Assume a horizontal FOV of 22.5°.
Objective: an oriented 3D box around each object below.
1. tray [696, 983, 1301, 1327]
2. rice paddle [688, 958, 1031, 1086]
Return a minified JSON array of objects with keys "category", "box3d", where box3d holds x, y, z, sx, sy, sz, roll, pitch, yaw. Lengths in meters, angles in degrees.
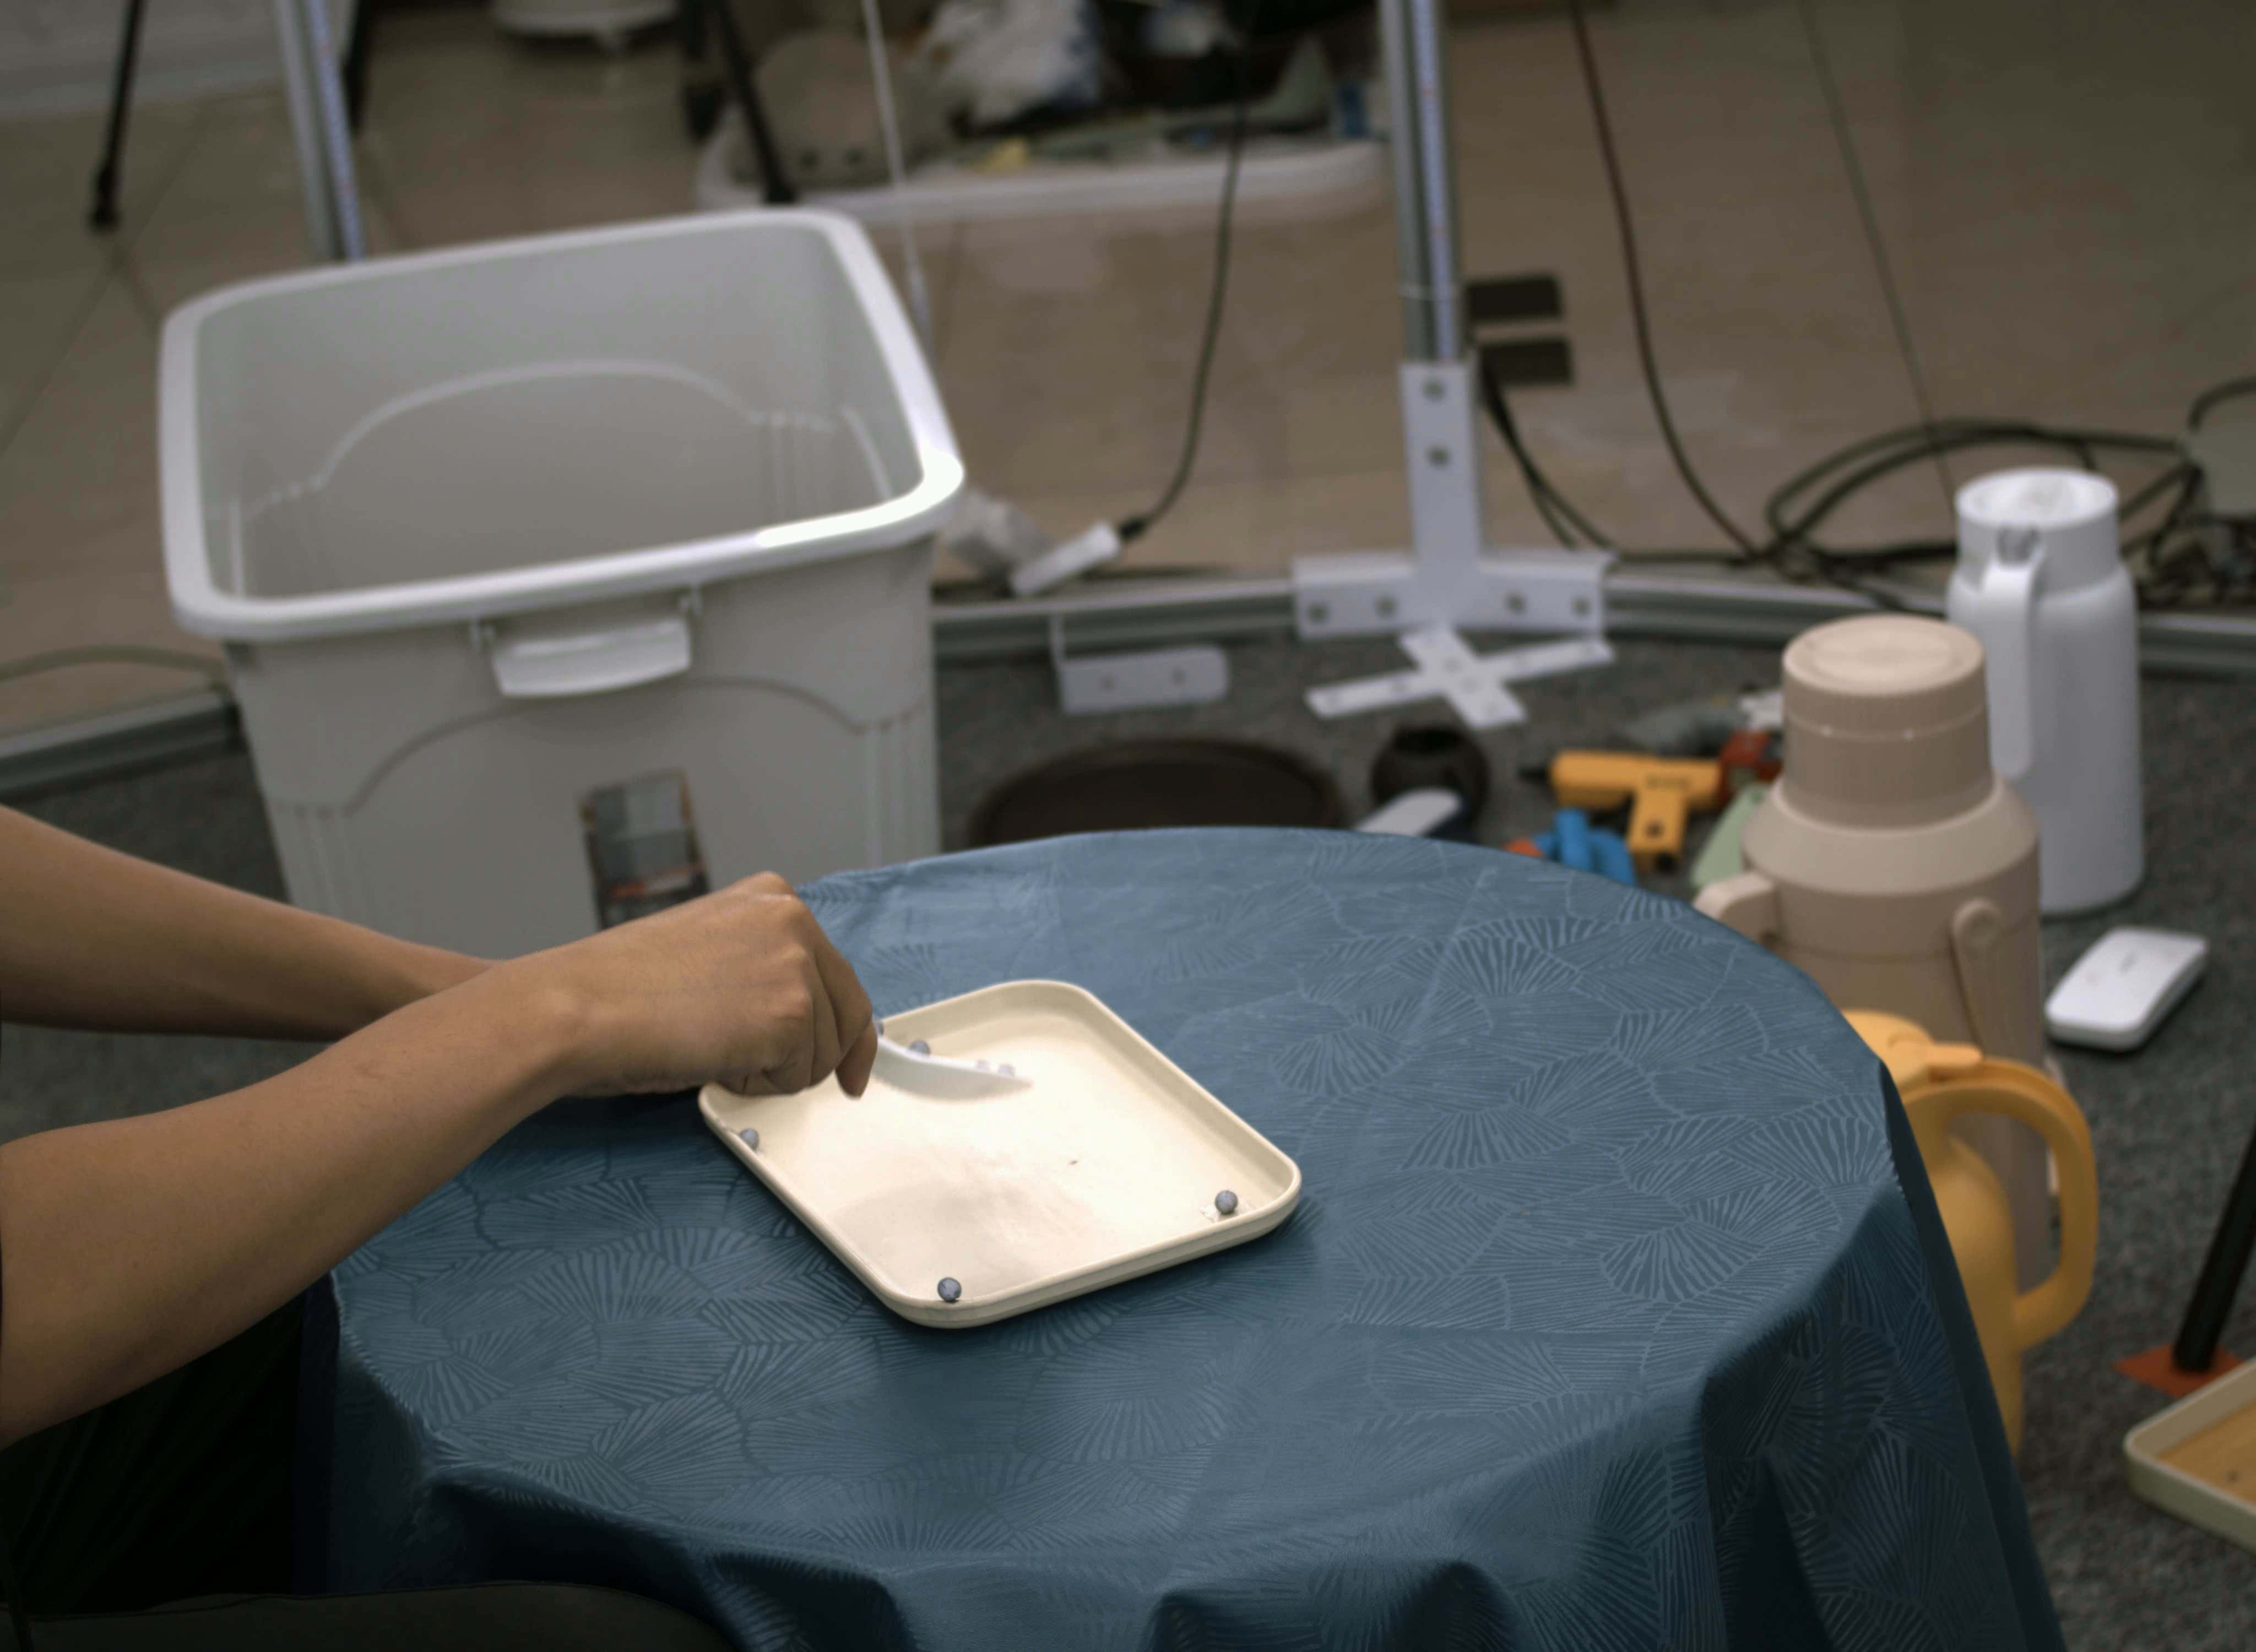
[{"category":"tray","box3d":[-0.052,0.125,2.173,0.170,0.018,0.237,-16,26,-21]},{"category":"rice paddle","box3d":[-0.097,0.074,2.062,0.068,0.029,0.206,11,-3,26]}]
